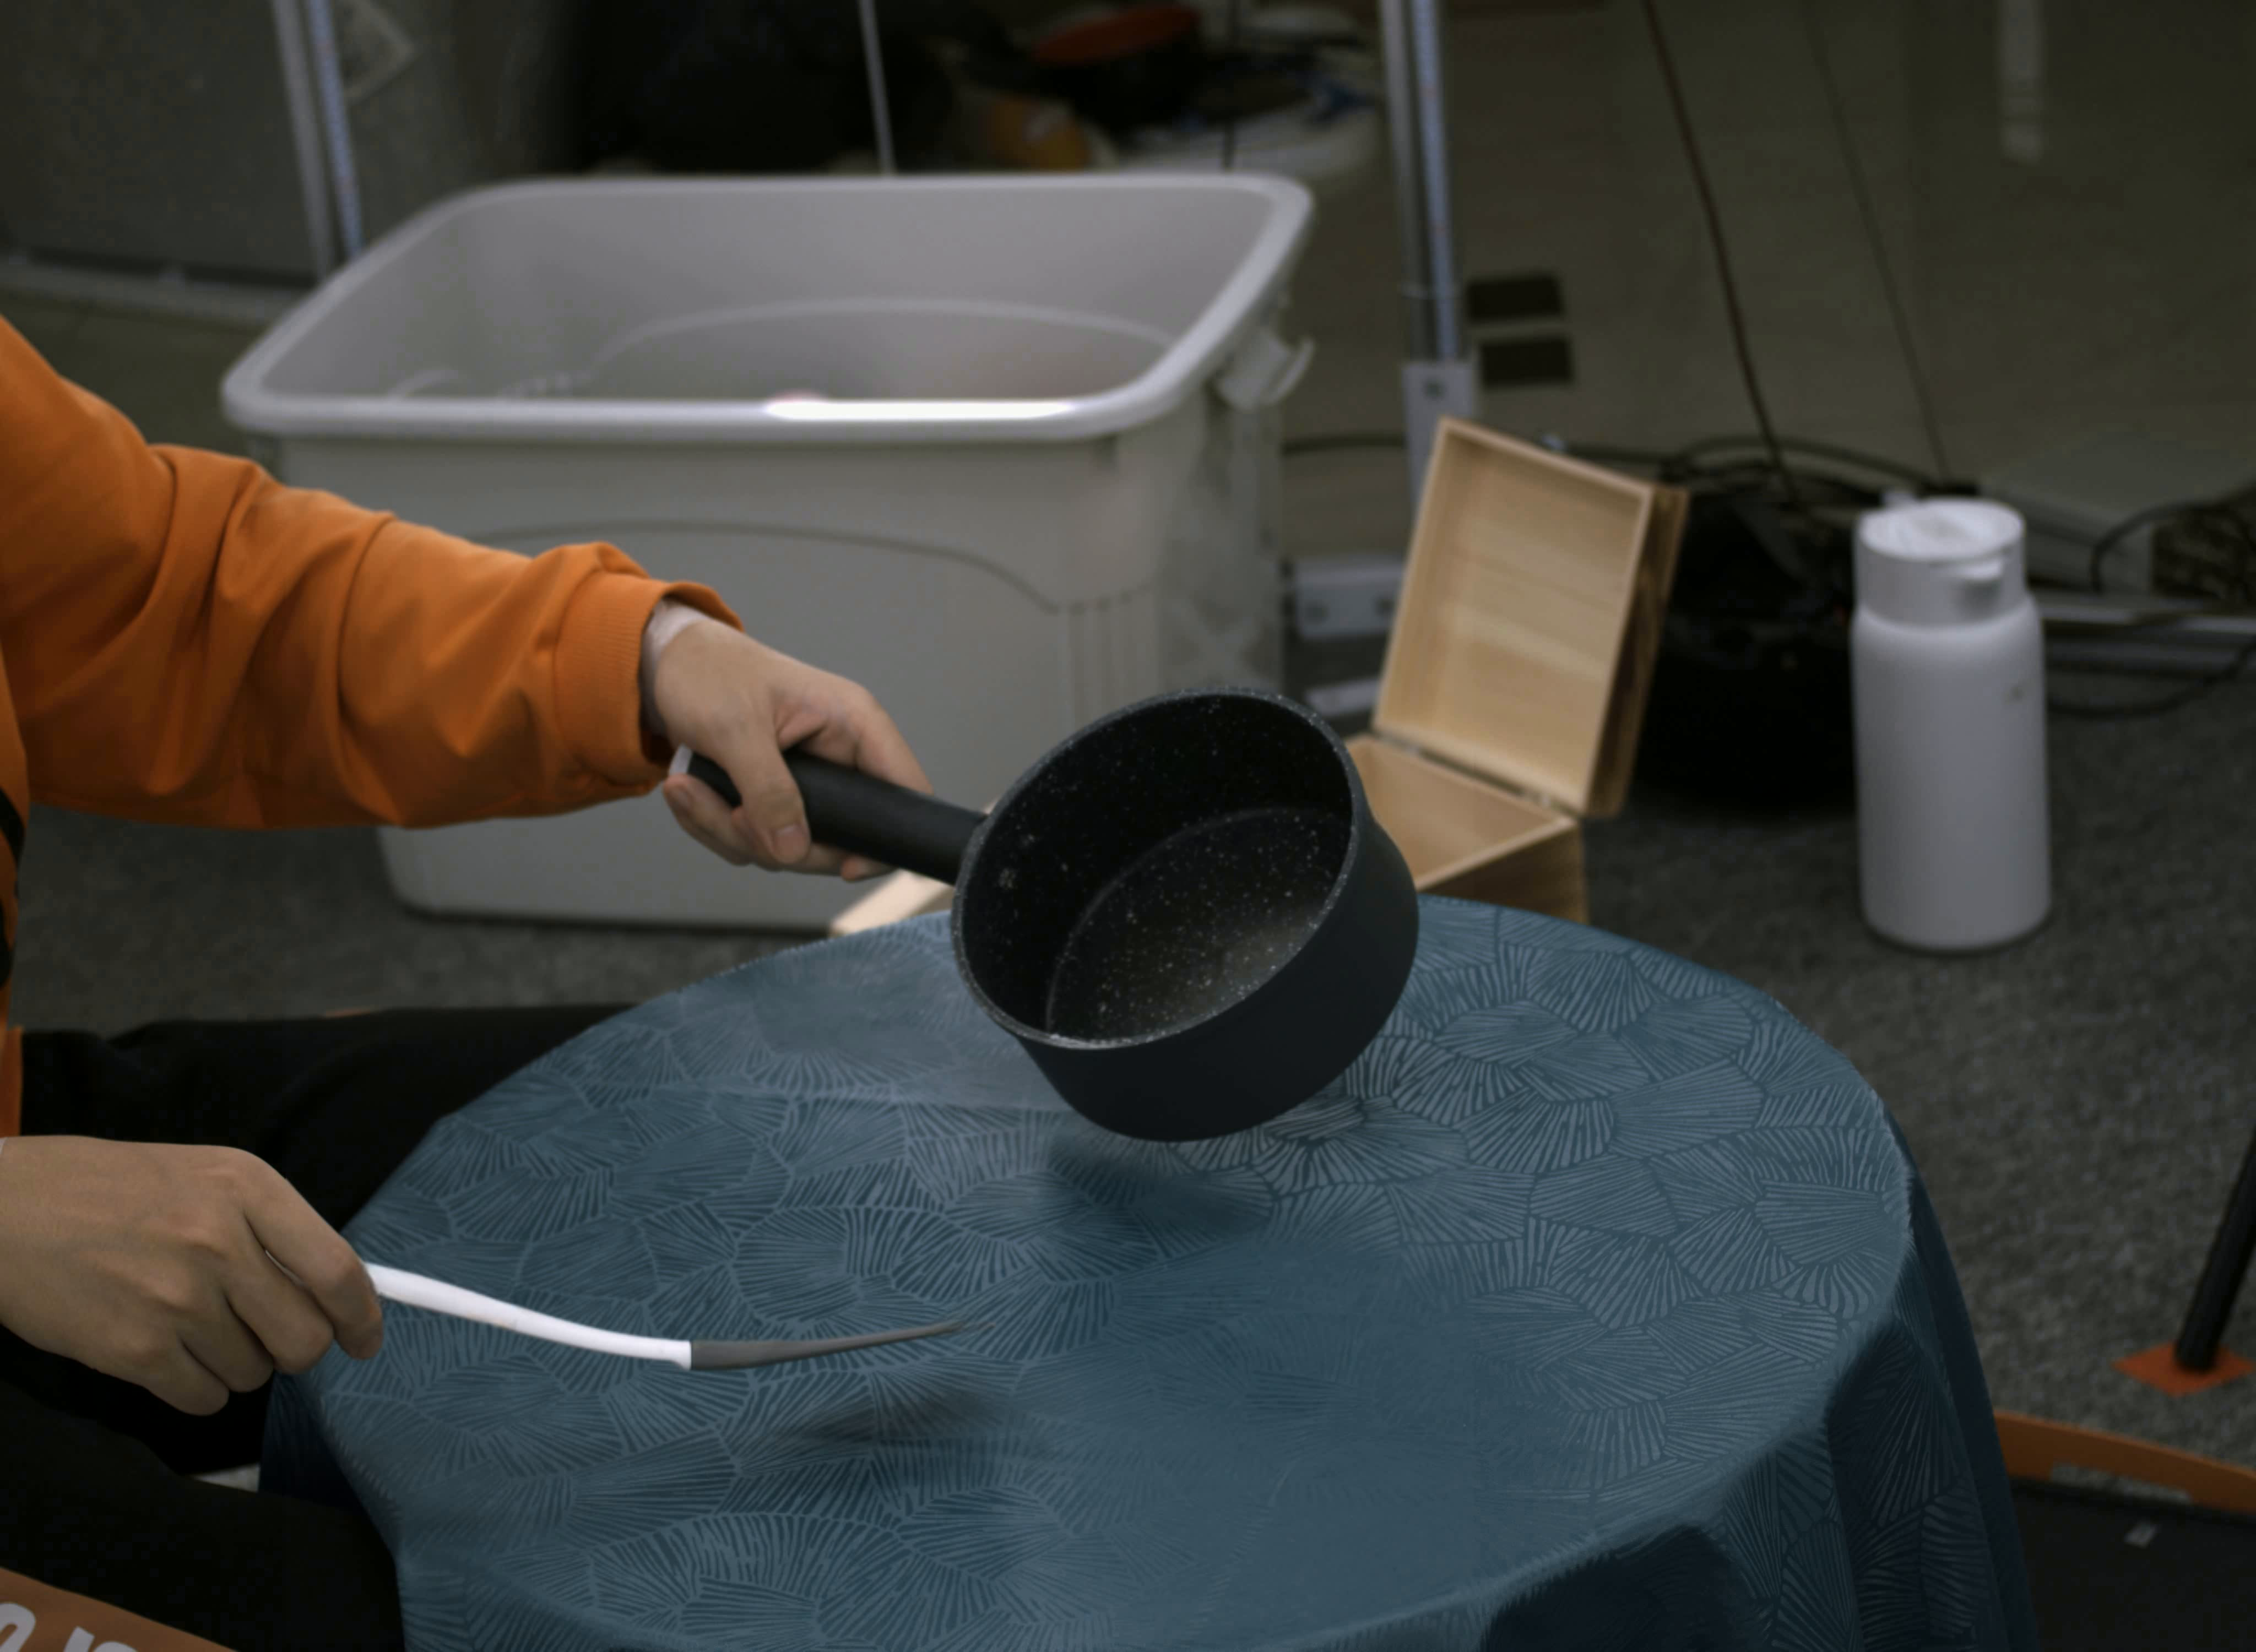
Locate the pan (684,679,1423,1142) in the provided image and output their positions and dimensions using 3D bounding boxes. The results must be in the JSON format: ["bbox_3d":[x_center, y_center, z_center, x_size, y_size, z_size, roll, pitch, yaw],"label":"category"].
[{"bbox_3d":[-0.036,0.018,2.221,0.326,0.088,0.170,16,63,37],"label":"pan"}]

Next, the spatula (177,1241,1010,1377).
[{"bbox_3d":[-0.185,0.172,1.971,0.287,0.032,0.059,6,-13,-10],"label":"spatula"}]
